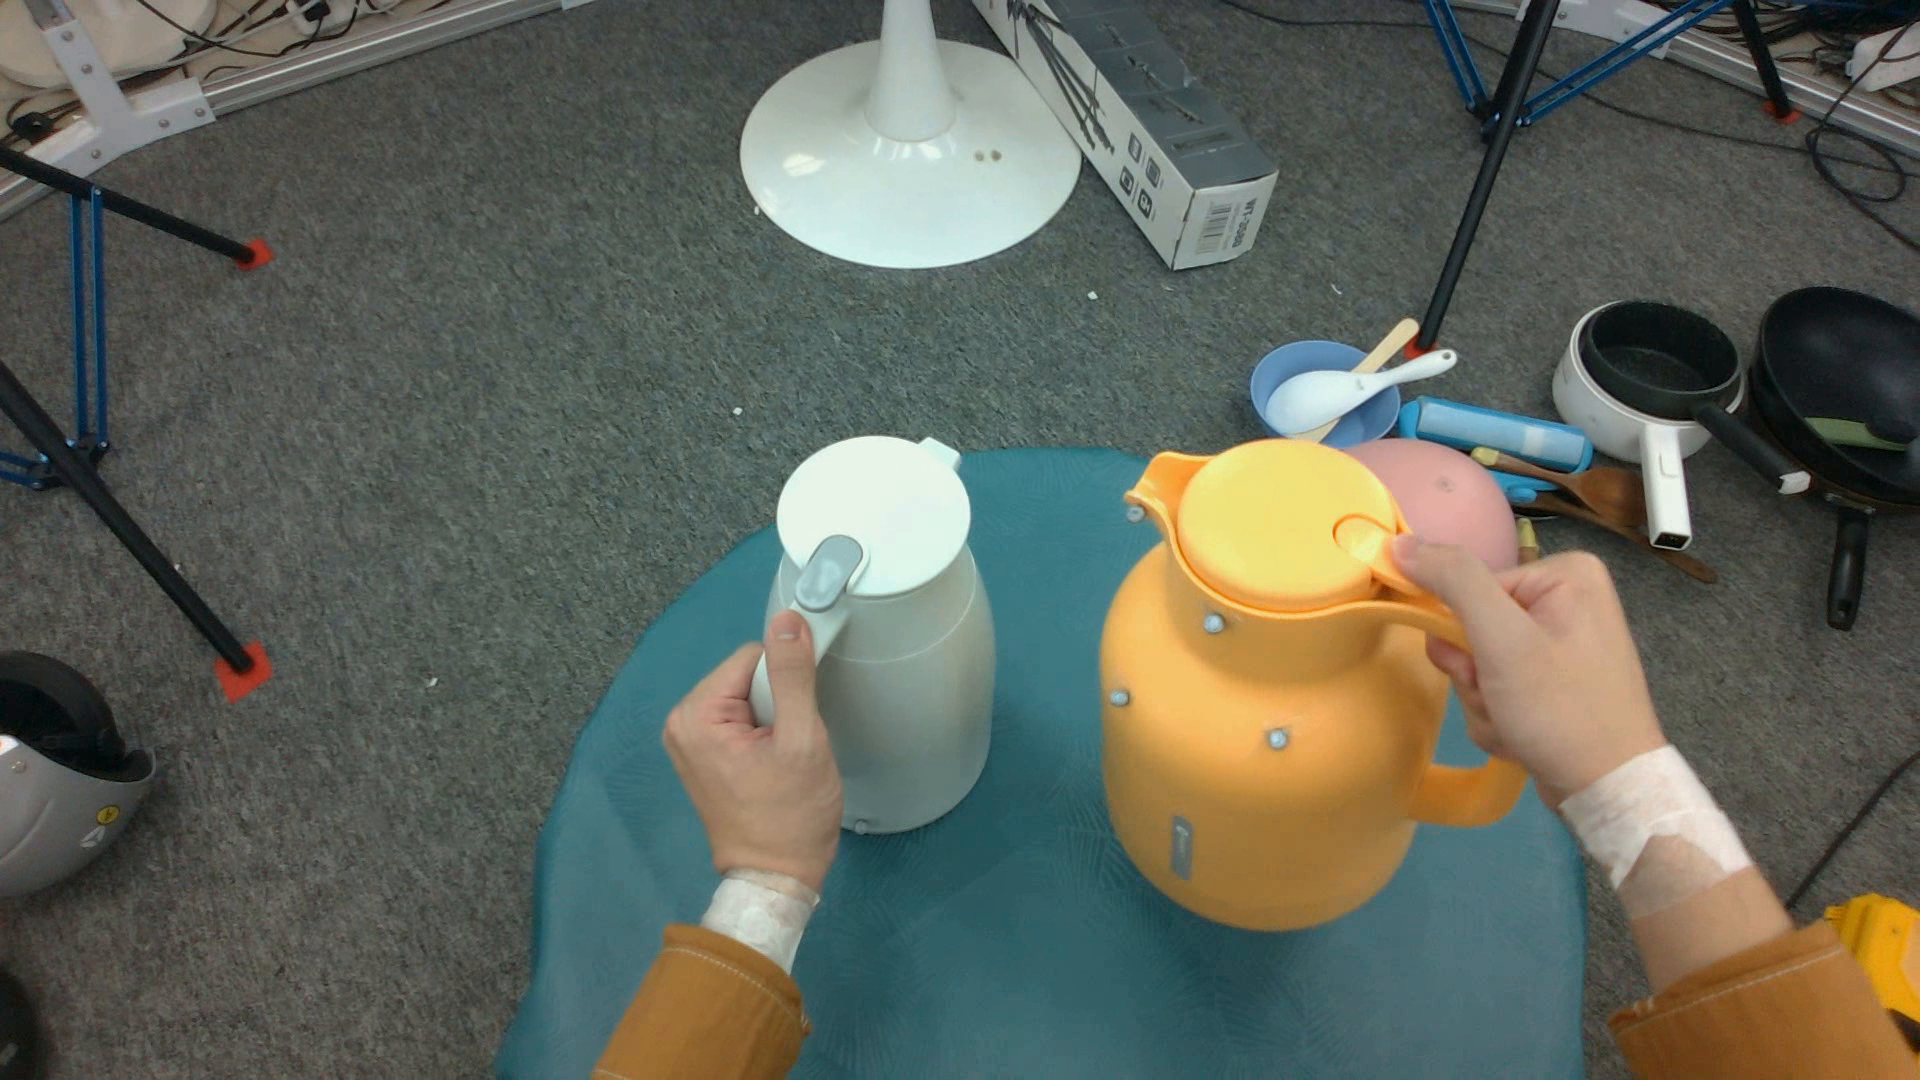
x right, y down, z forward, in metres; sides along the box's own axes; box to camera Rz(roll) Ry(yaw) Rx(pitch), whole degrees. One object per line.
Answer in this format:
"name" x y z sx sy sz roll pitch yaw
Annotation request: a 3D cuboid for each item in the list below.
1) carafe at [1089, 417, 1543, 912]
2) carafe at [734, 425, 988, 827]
"carafe" 0.158 0.066 0.650 0.202 0.259 0.164 23 59 26
"carafe" -0.057 0.060 0.732 0.132 0.247 0.168 28 60 15
